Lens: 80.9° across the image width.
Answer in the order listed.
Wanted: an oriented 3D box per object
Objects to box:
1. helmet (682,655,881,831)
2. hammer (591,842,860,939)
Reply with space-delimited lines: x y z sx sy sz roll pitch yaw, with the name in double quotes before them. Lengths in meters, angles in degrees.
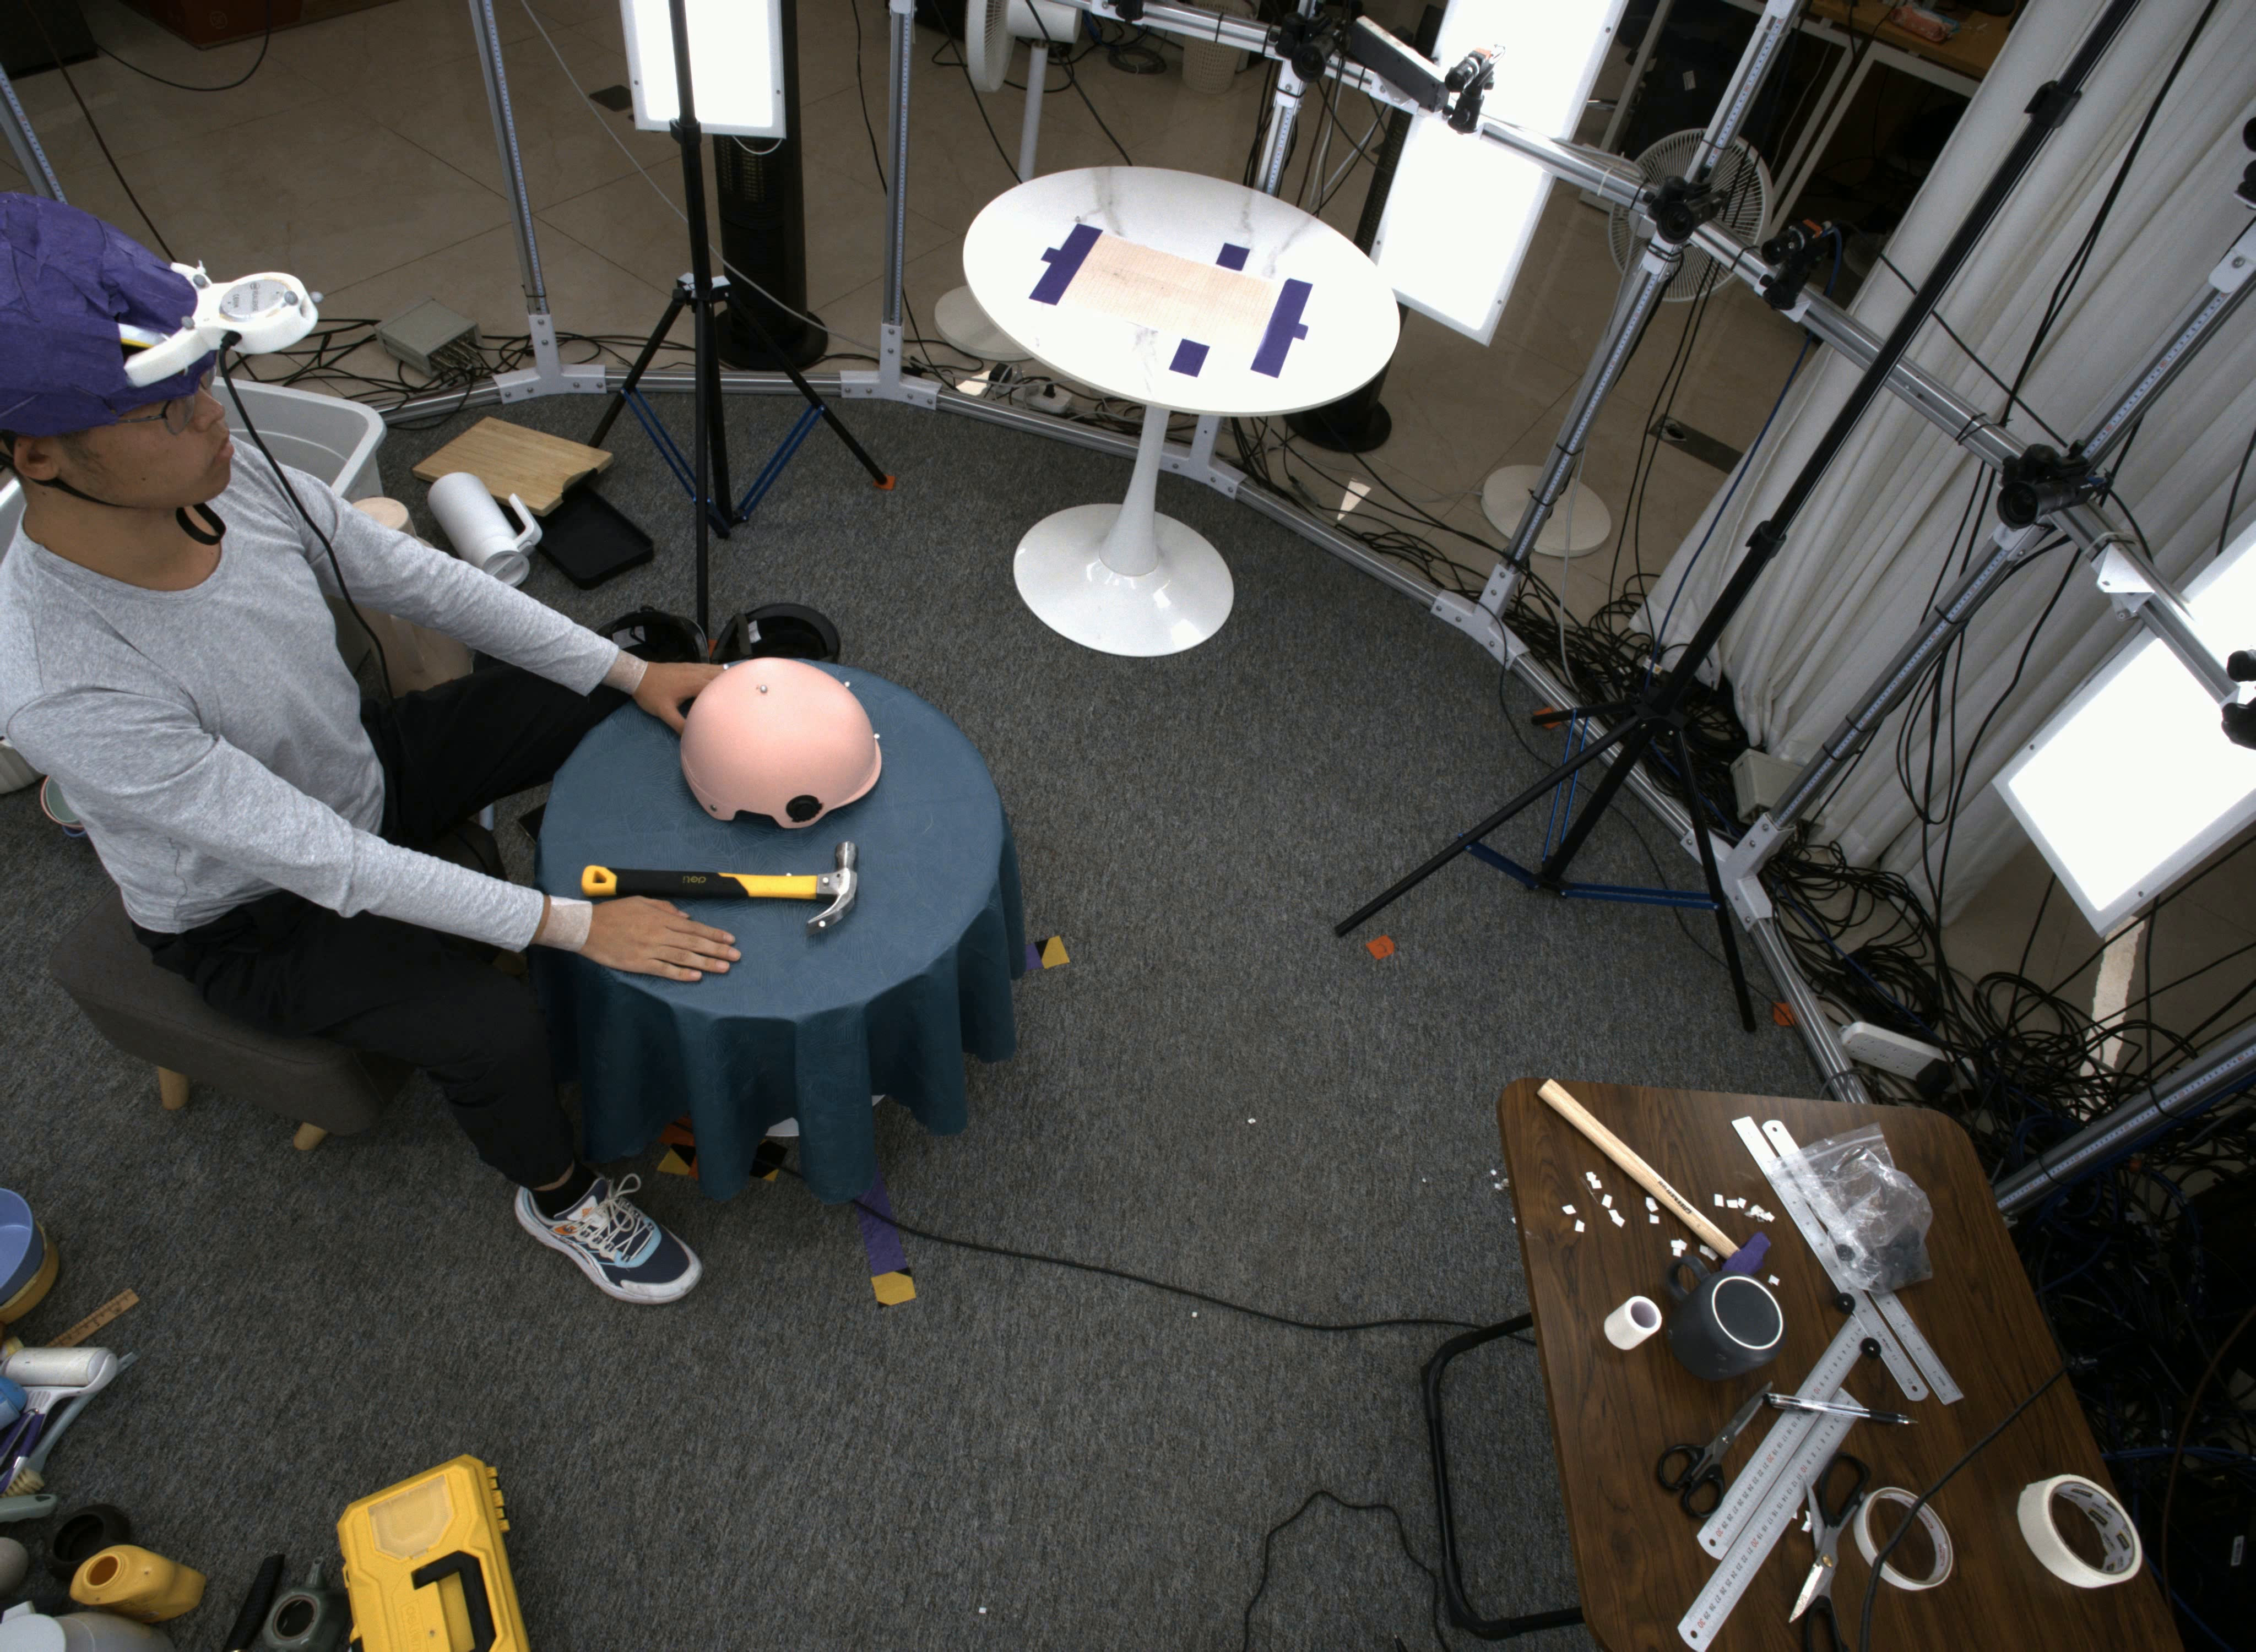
"helmet" -0.458 -0.130 1.717 0.267 0.161 0.229 -1 54 -18
"hammer" -0.510 0.075 1.631 0.338 0.033 0.129 2 55 -12
